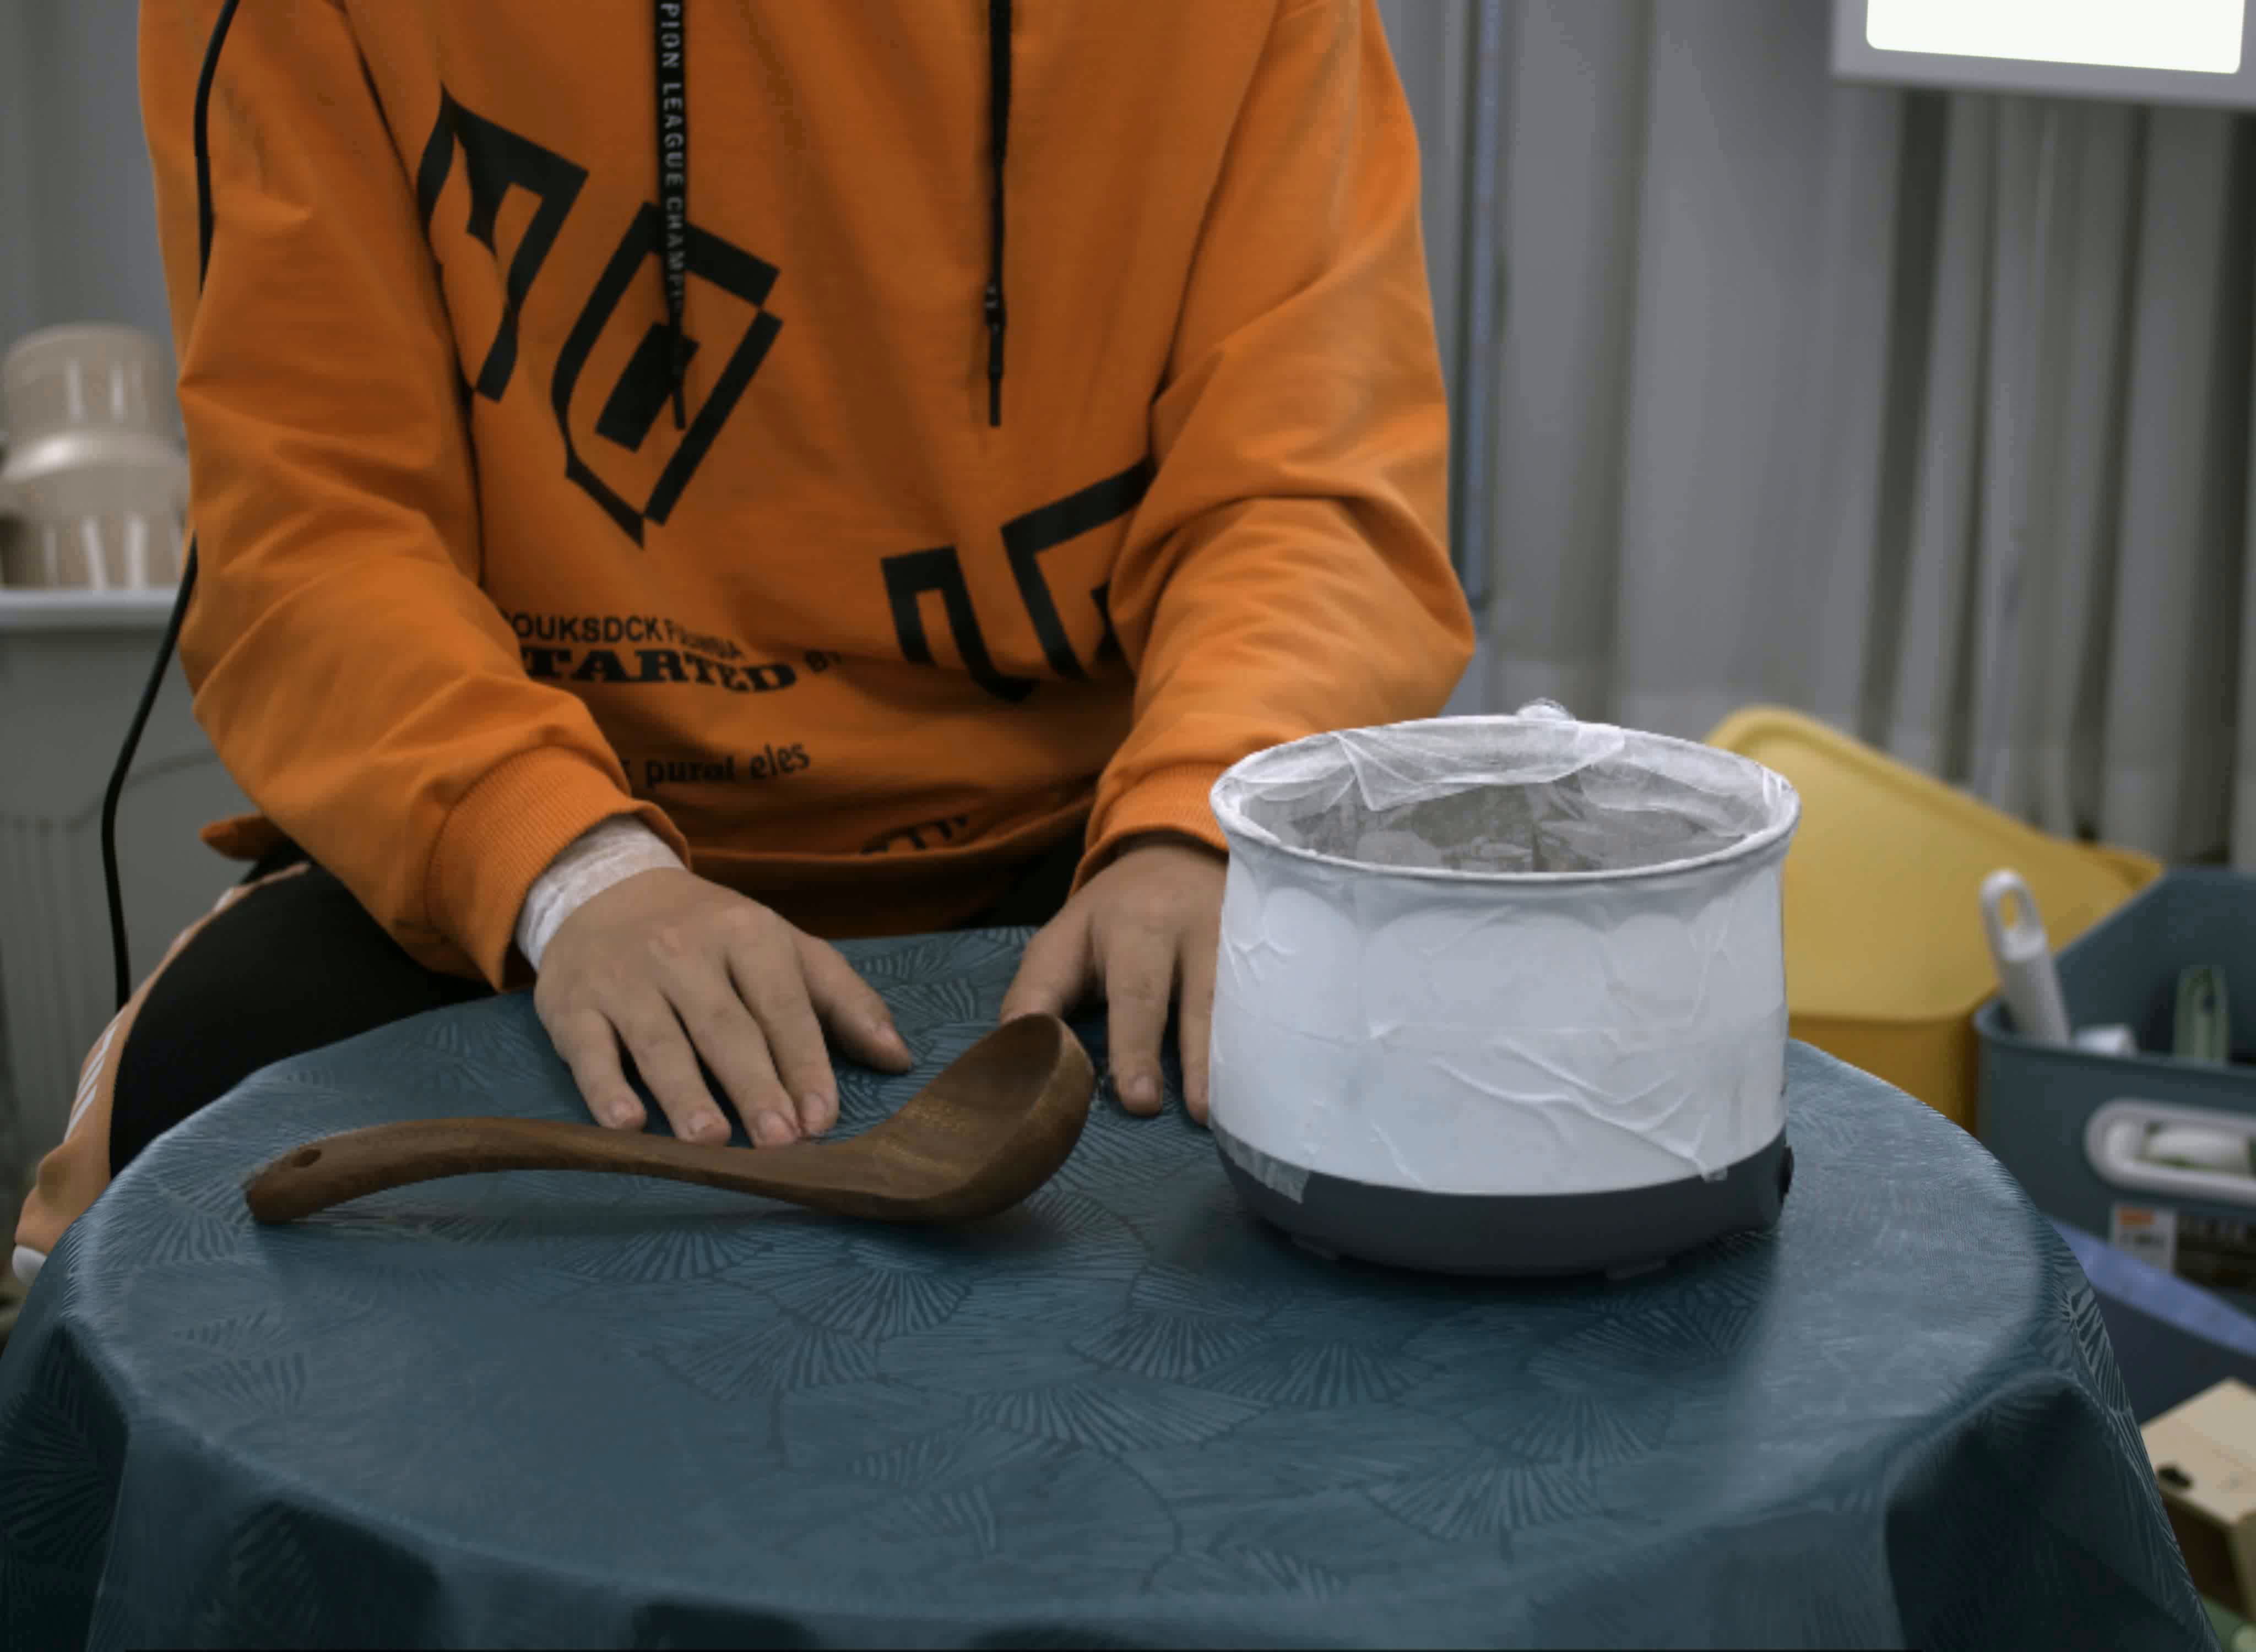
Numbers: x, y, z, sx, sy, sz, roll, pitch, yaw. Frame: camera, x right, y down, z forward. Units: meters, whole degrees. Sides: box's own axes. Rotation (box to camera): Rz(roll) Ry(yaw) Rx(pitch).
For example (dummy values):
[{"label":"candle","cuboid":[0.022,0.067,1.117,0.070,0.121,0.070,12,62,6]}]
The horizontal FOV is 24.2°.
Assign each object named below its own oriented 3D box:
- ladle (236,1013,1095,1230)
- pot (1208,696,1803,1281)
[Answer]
[{"label":"ladle","cuboid":[-0.140,0.089,1.583,0.259,0.066,0.076,1,24,-1]},{"label":"pot","cuboid":[0.117,0.044,1.615,0.177,0.138,0.233,3,16,8]}]
